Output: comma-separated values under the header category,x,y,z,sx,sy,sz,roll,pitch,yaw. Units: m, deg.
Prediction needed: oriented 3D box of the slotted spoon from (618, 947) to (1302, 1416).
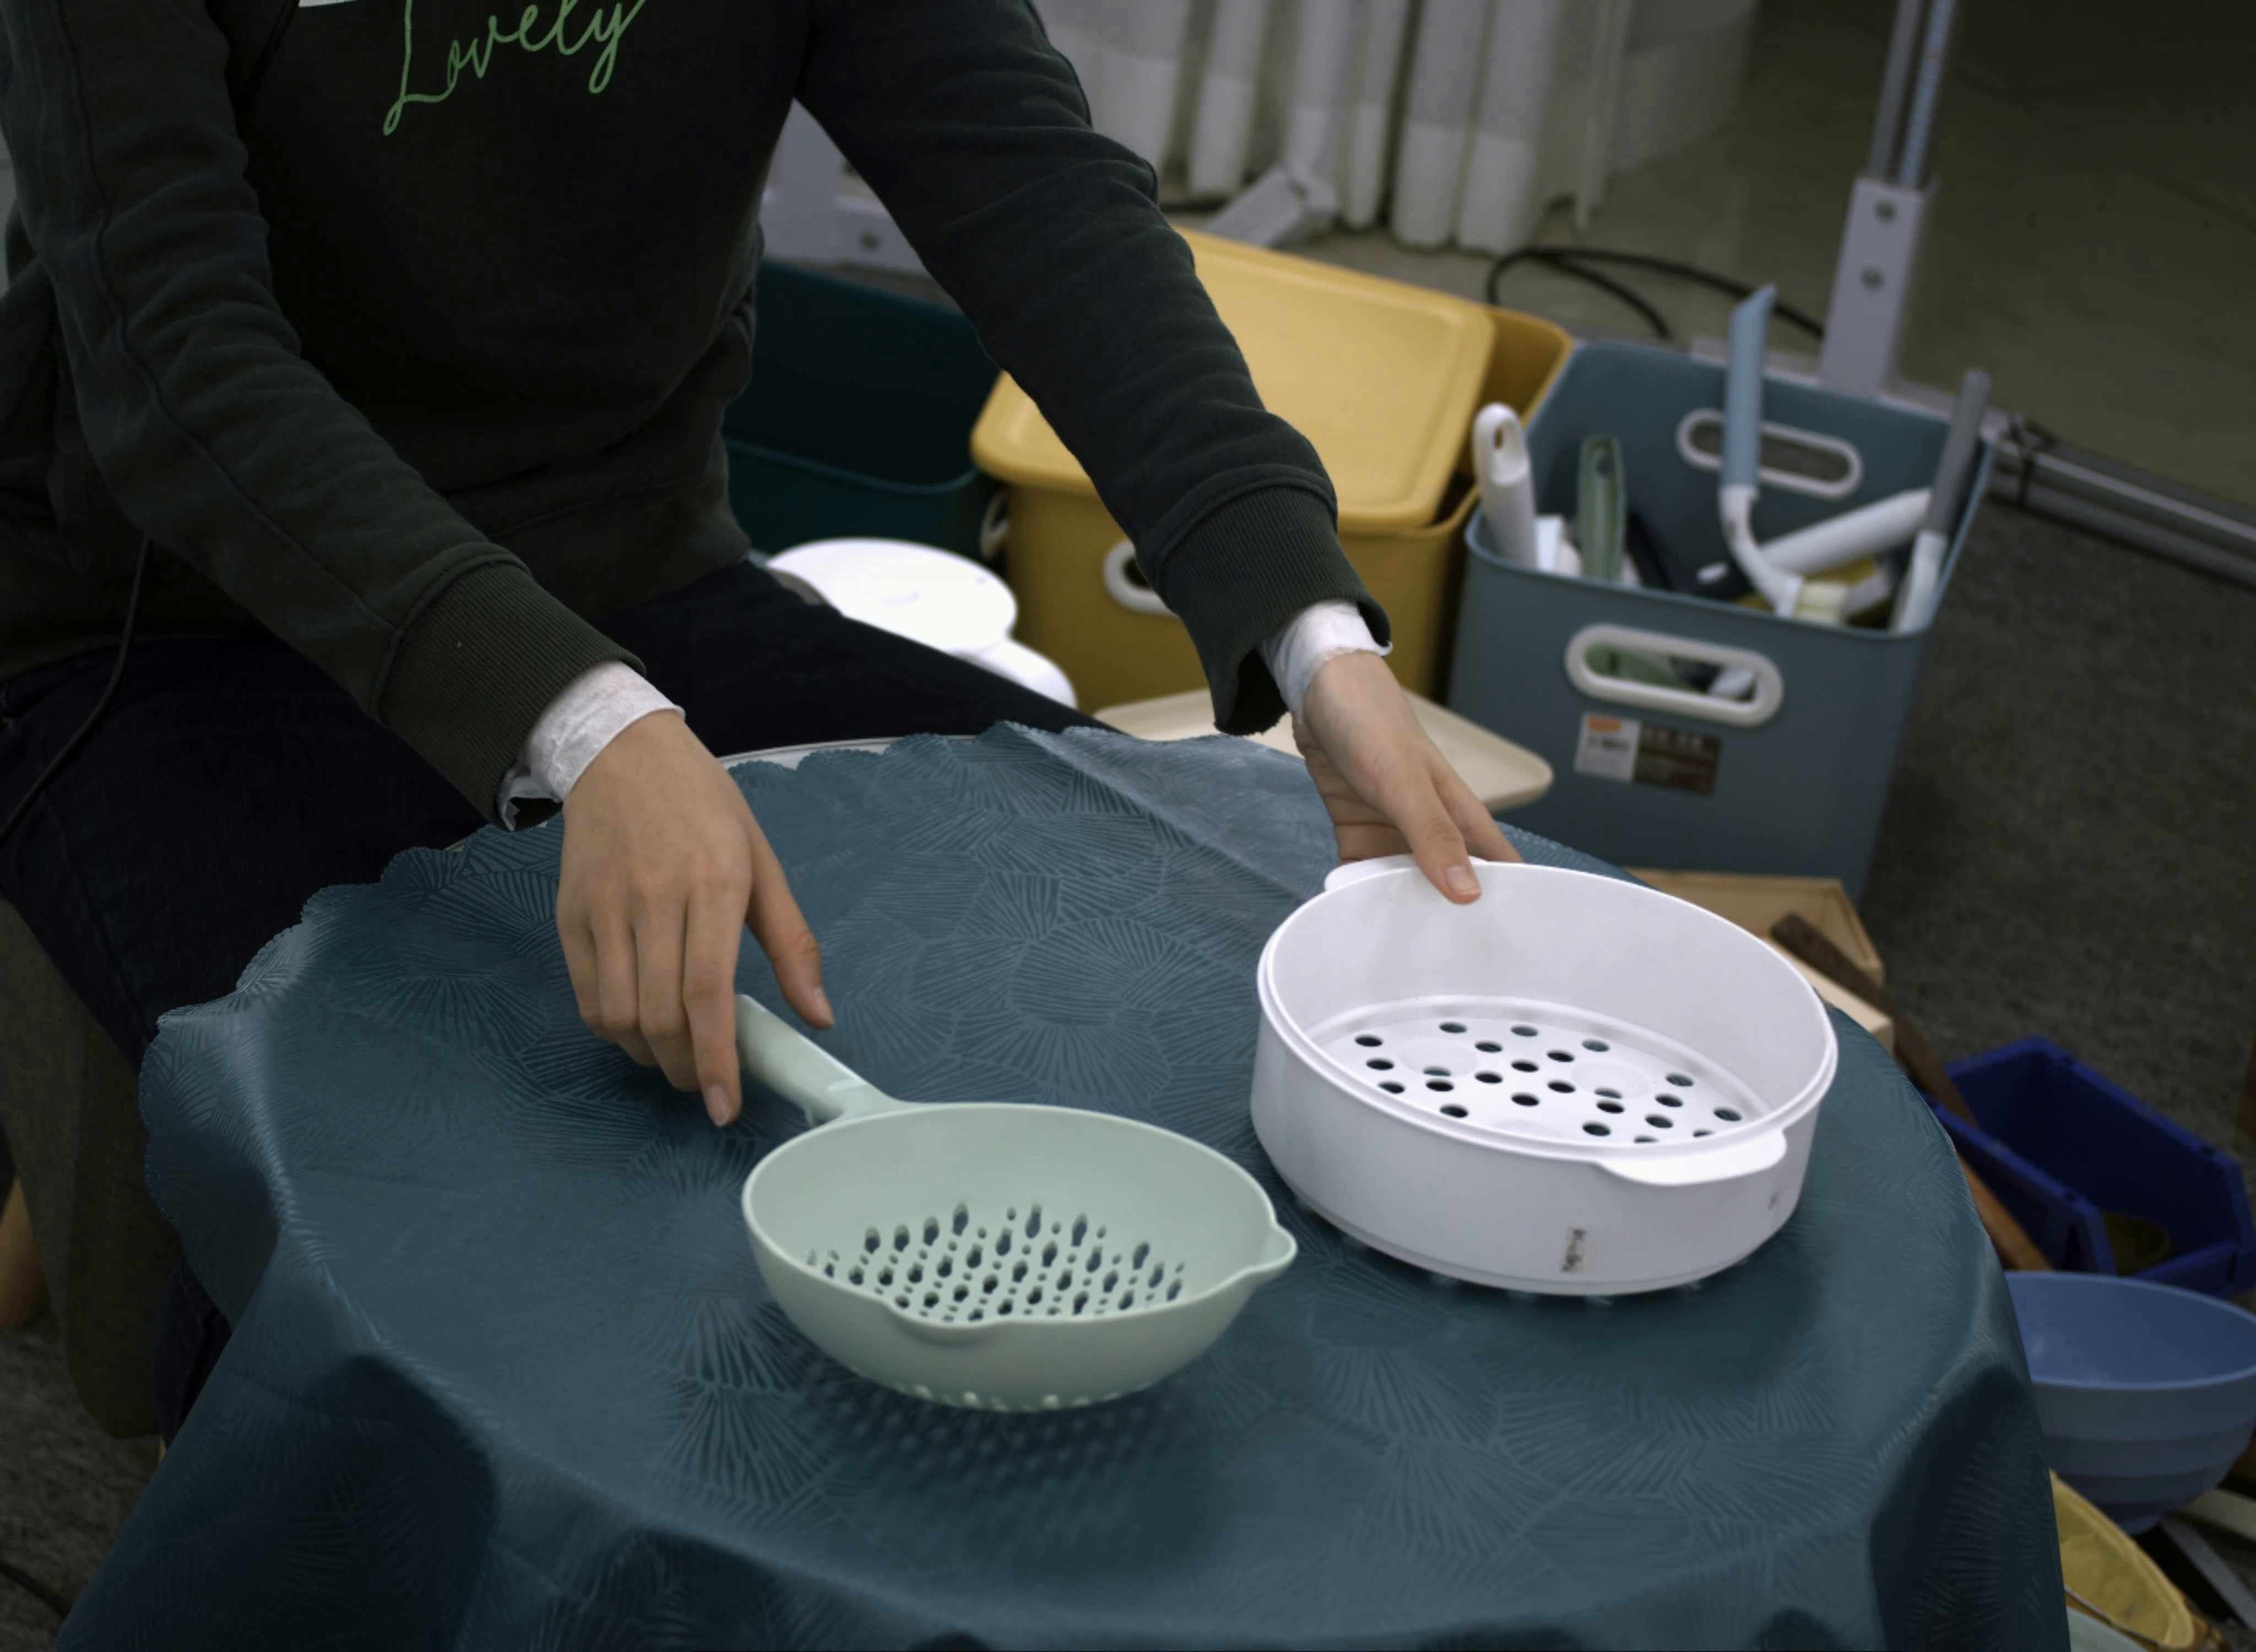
category,x,y,z,sx,sy,sz,roll,pitch,yaw
slotted spoon,-0.087,0.101,1.754,0.168,0.075,0.362,-7,30,-29

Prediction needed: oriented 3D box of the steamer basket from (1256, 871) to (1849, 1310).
category,x,y,z,sx,sy,sz,roll,pitch,yaw
steamer basket,0.143,0.092,1.825,0.200,0.069,0.232,-7,29,-27
